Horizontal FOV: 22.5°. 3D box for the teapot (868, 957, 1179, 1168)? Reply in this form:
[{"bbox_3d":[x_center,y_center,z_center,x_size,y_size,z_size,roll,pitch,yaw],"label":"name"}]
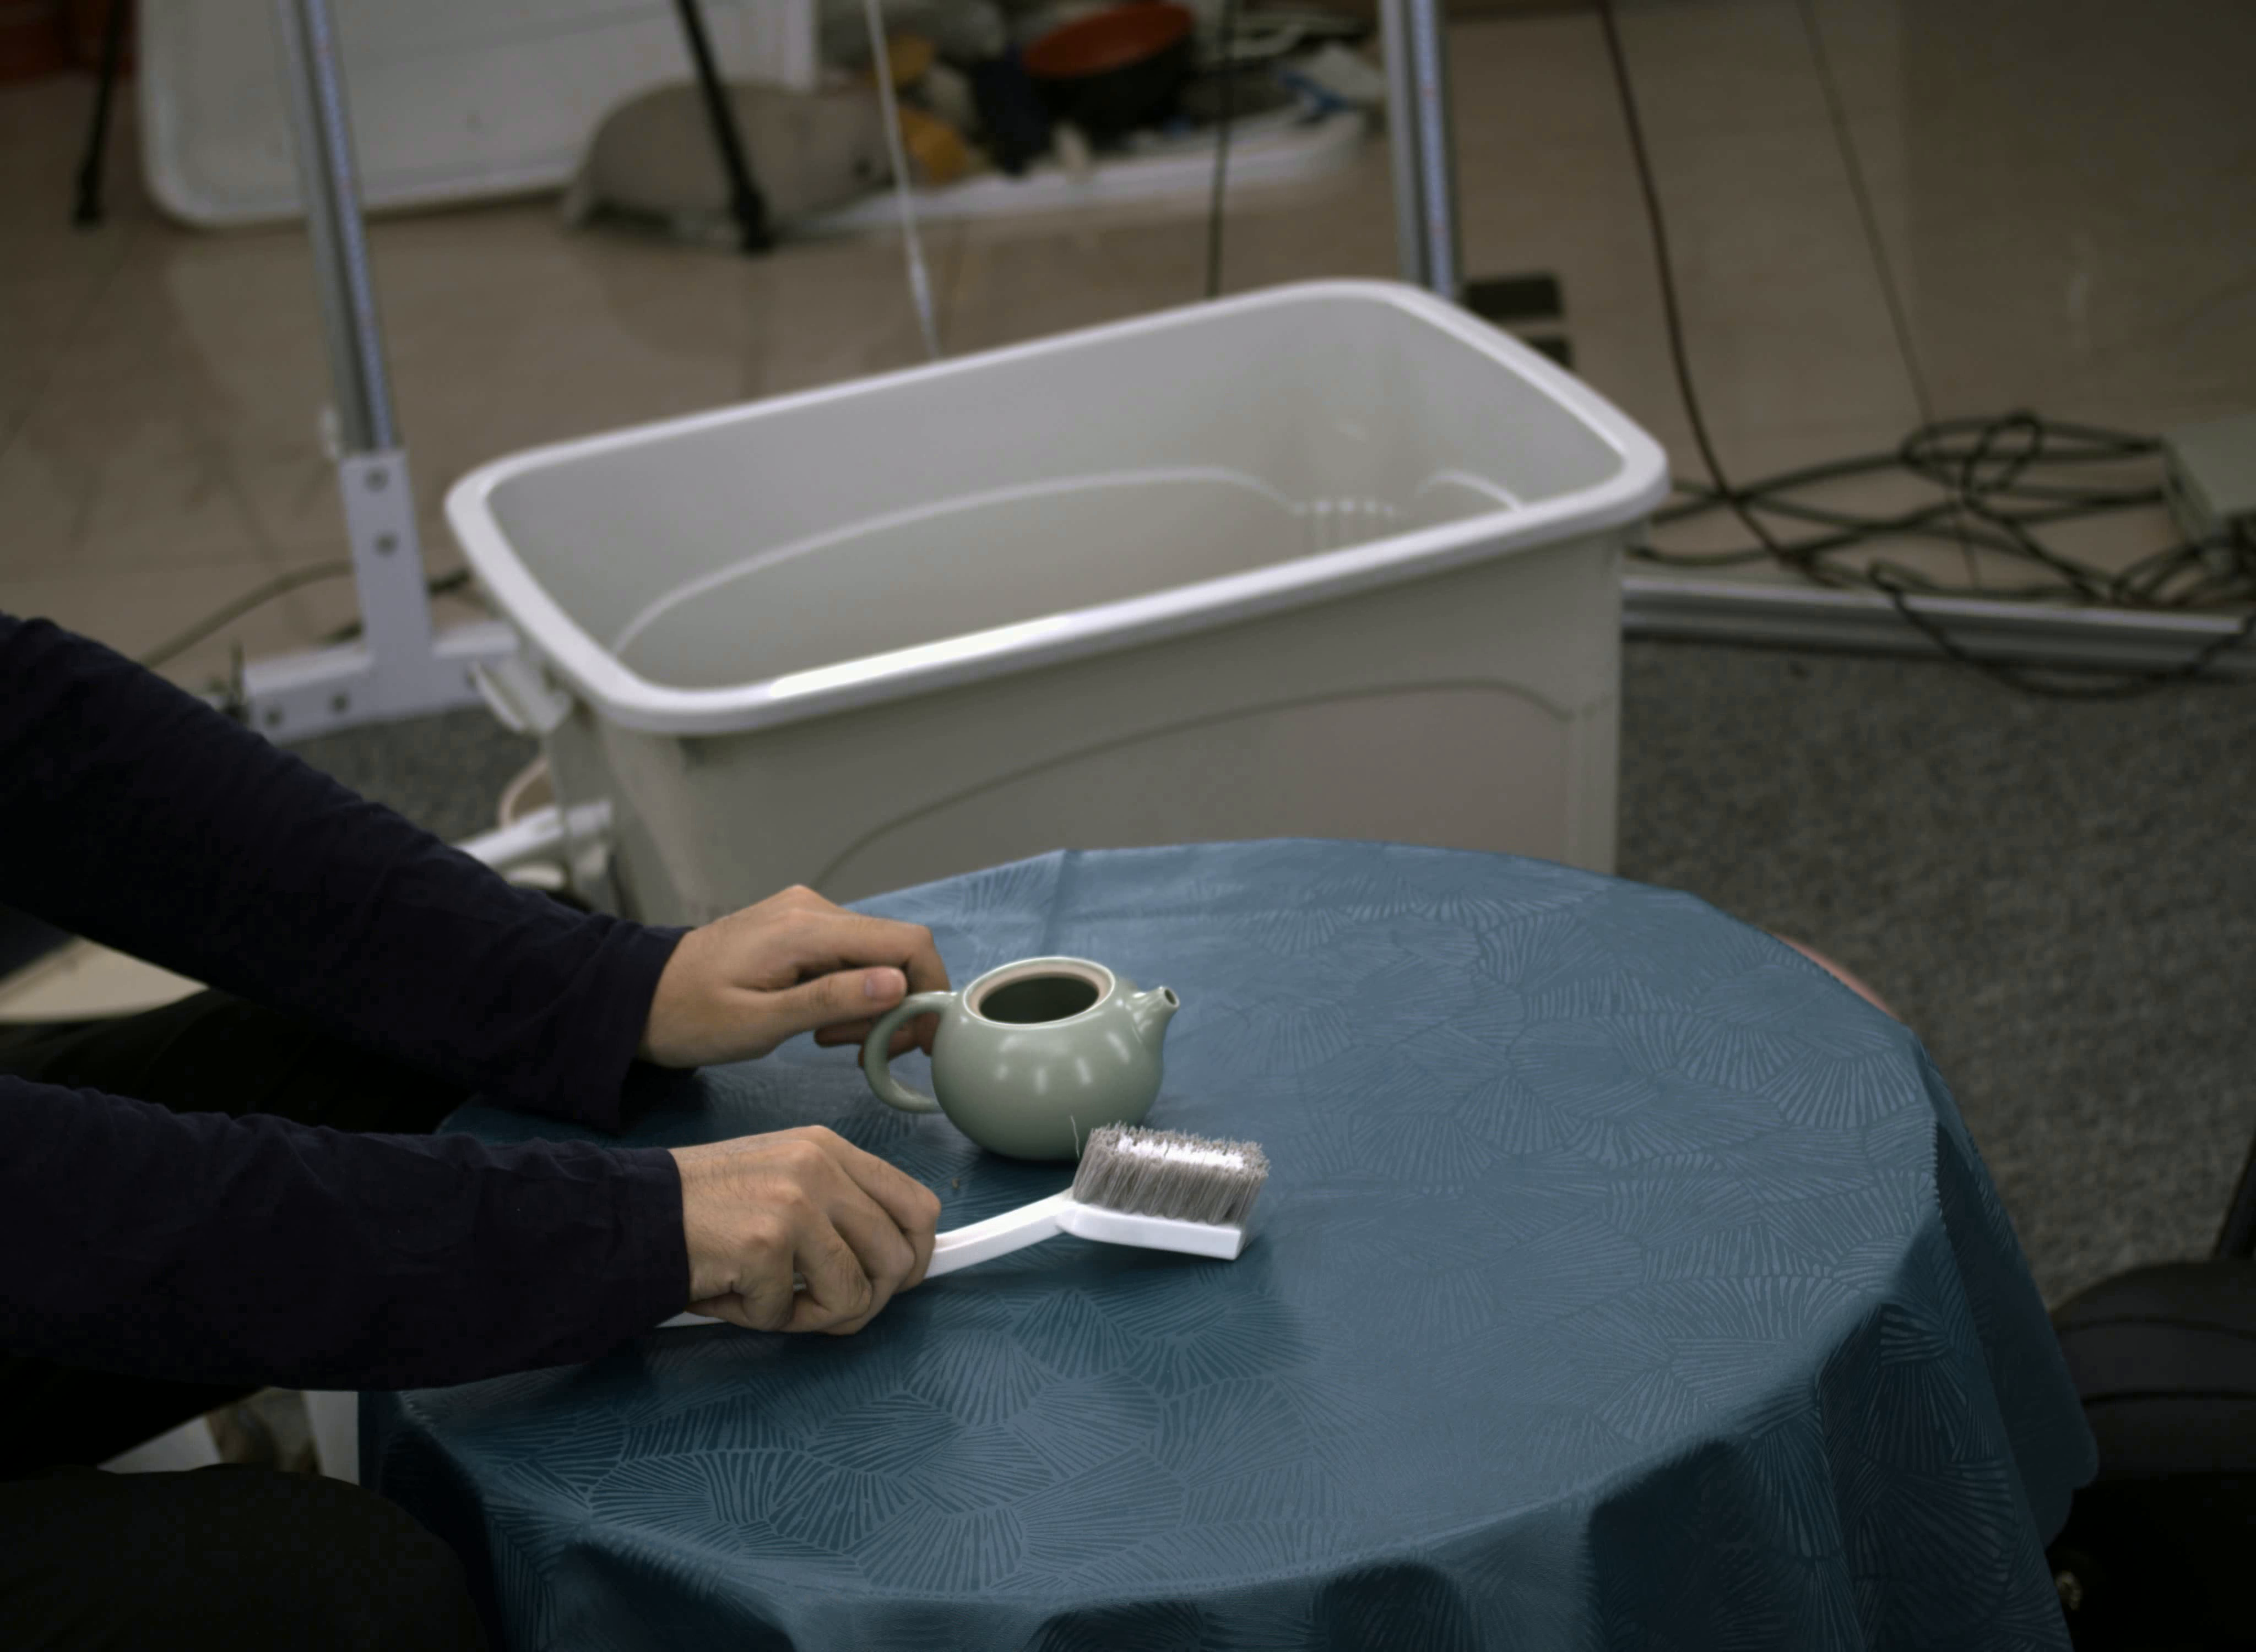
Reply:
[{"bbox_3d":[-0.040,0.092,2.191,0.128,0.062,0.090,1,31,17],"label":"teapot"}]

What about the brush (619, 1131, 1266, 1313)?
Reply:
[{"bbox_3d":[-0.070,0.145,2.093,0.243,0.051,0.034,-6,30,1],"label":"brush"}]
